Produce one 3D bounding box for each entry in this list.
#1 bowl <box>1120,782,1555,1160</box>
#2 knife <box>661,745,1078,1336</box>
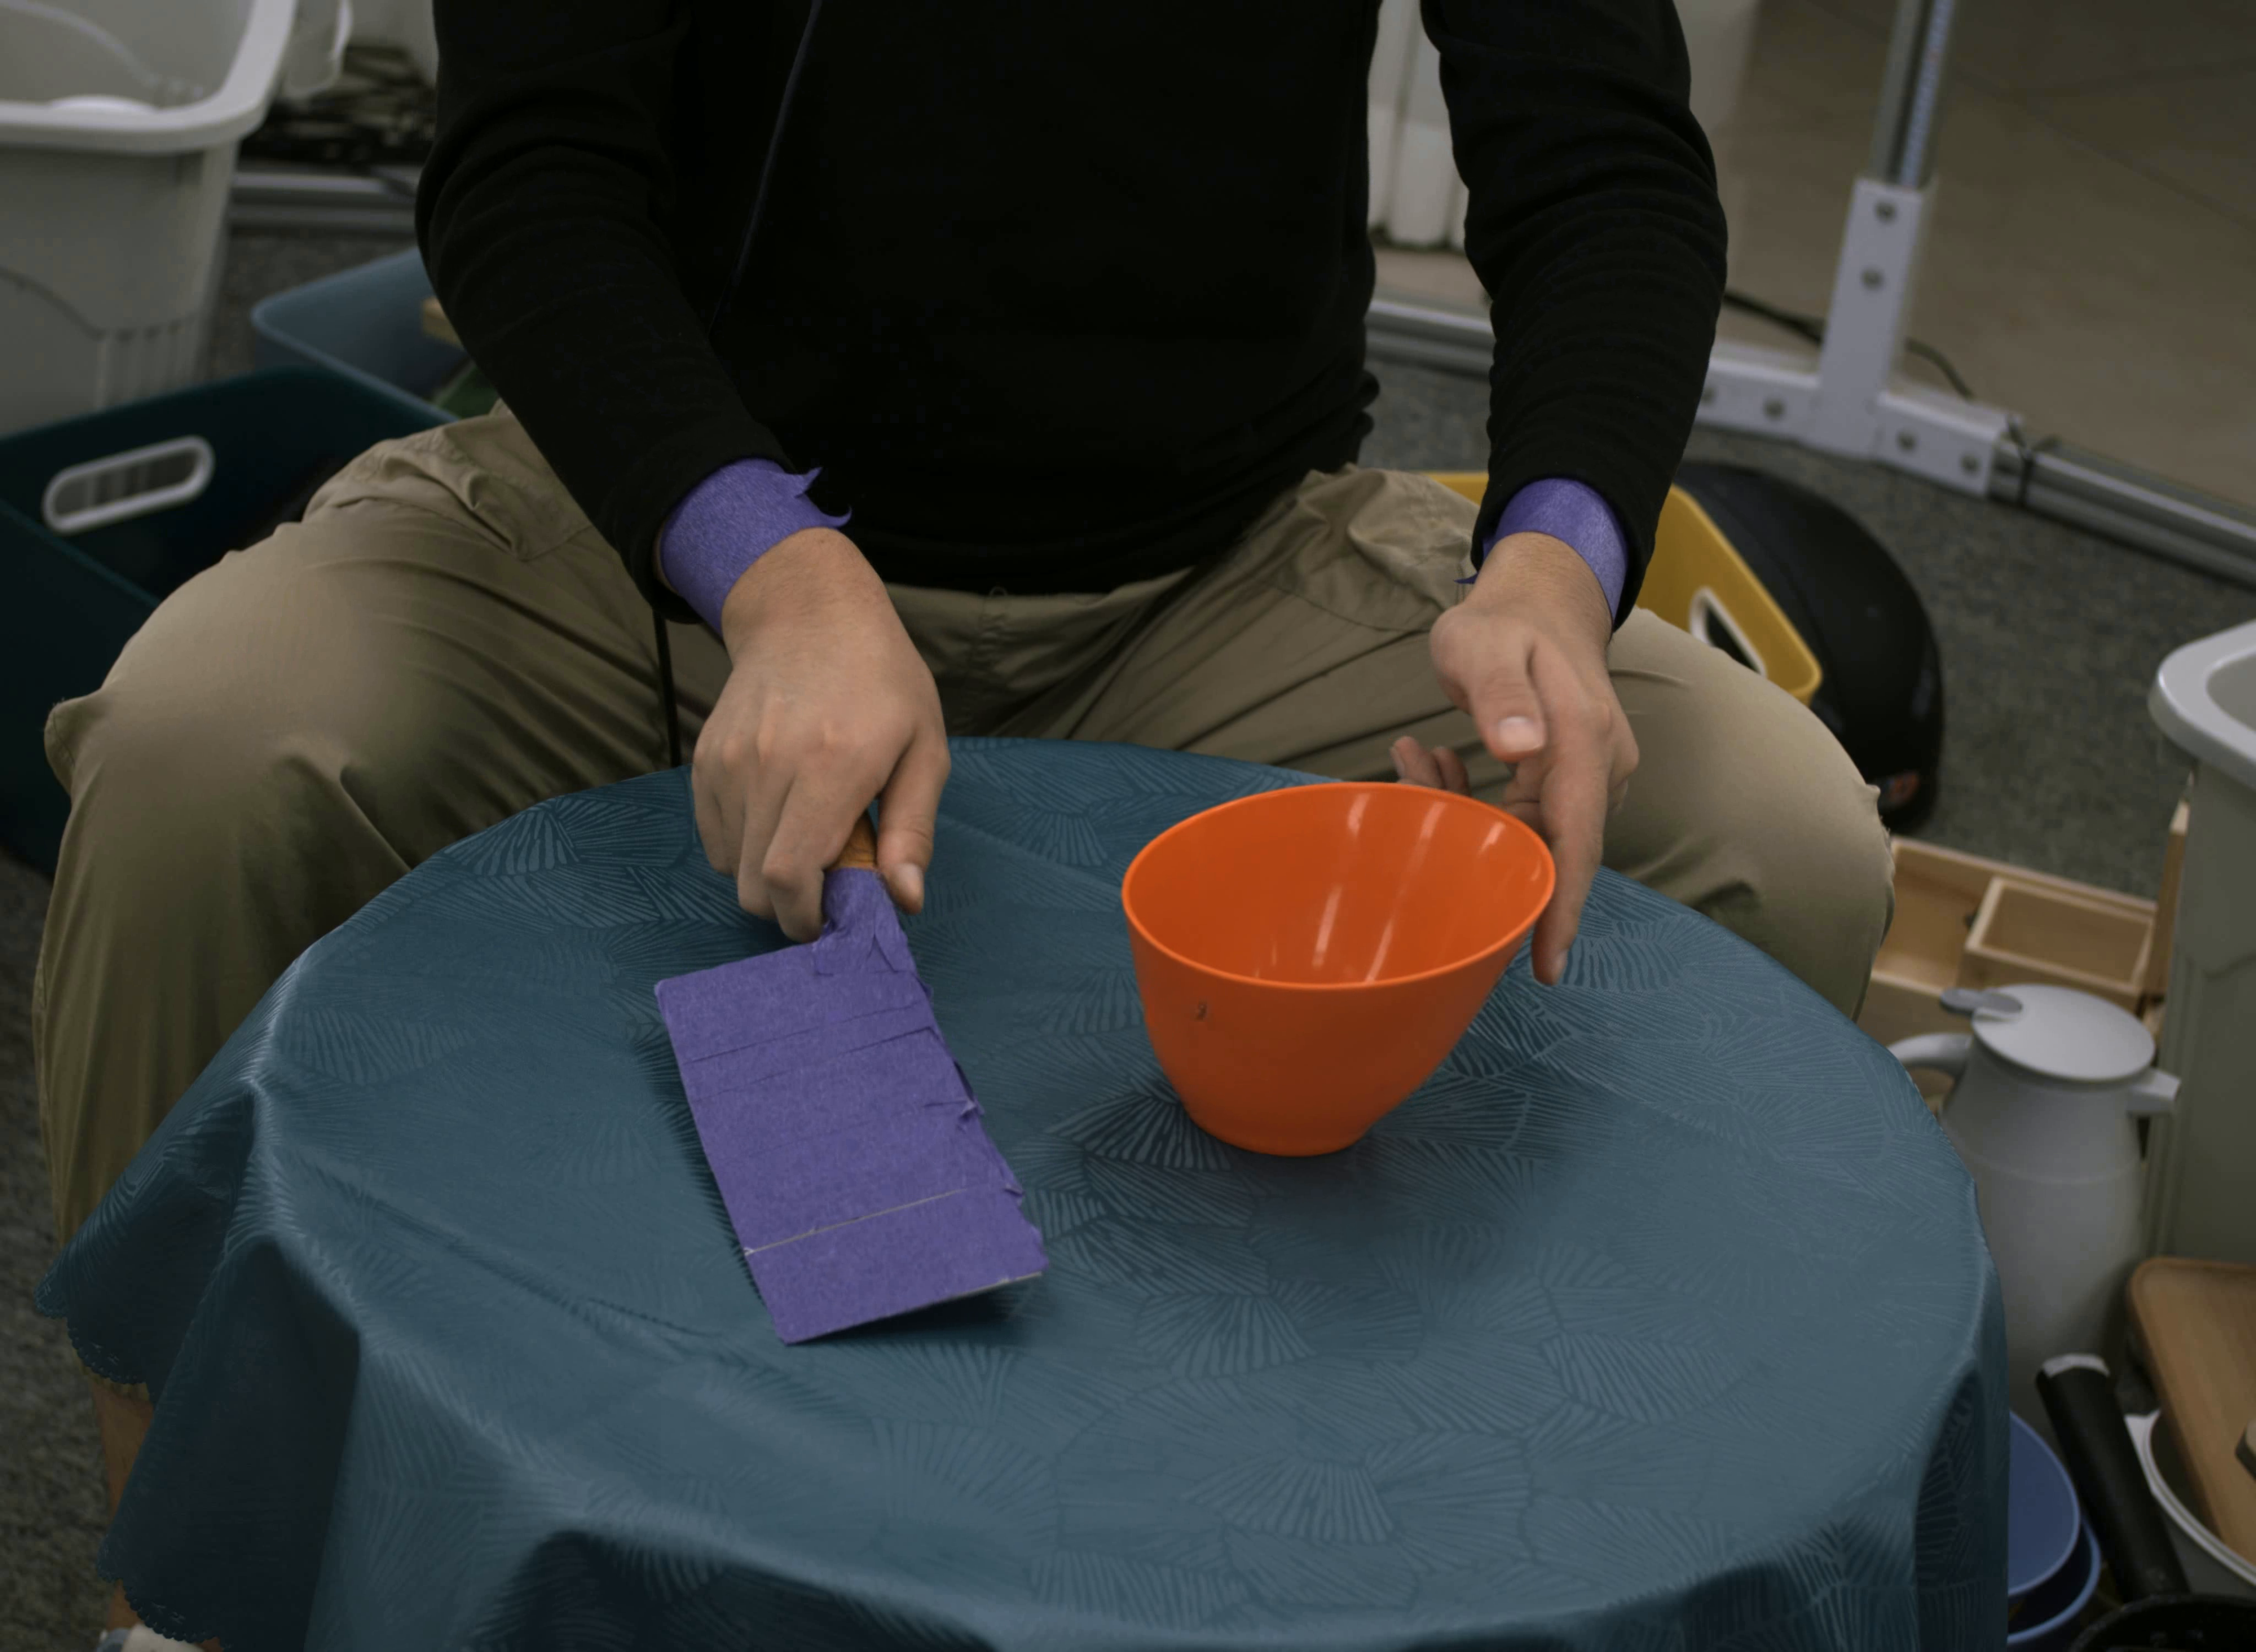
[{"bbox_3d":[0.068,0.056,1.843,0.147,0.104,0.149,4,28,-3],"label":"bowl"},{"bbox_3d":[-0.108,0.068,1.826,0.103,0.032,0.318,-14,34,-10],"label":"knife"}]
